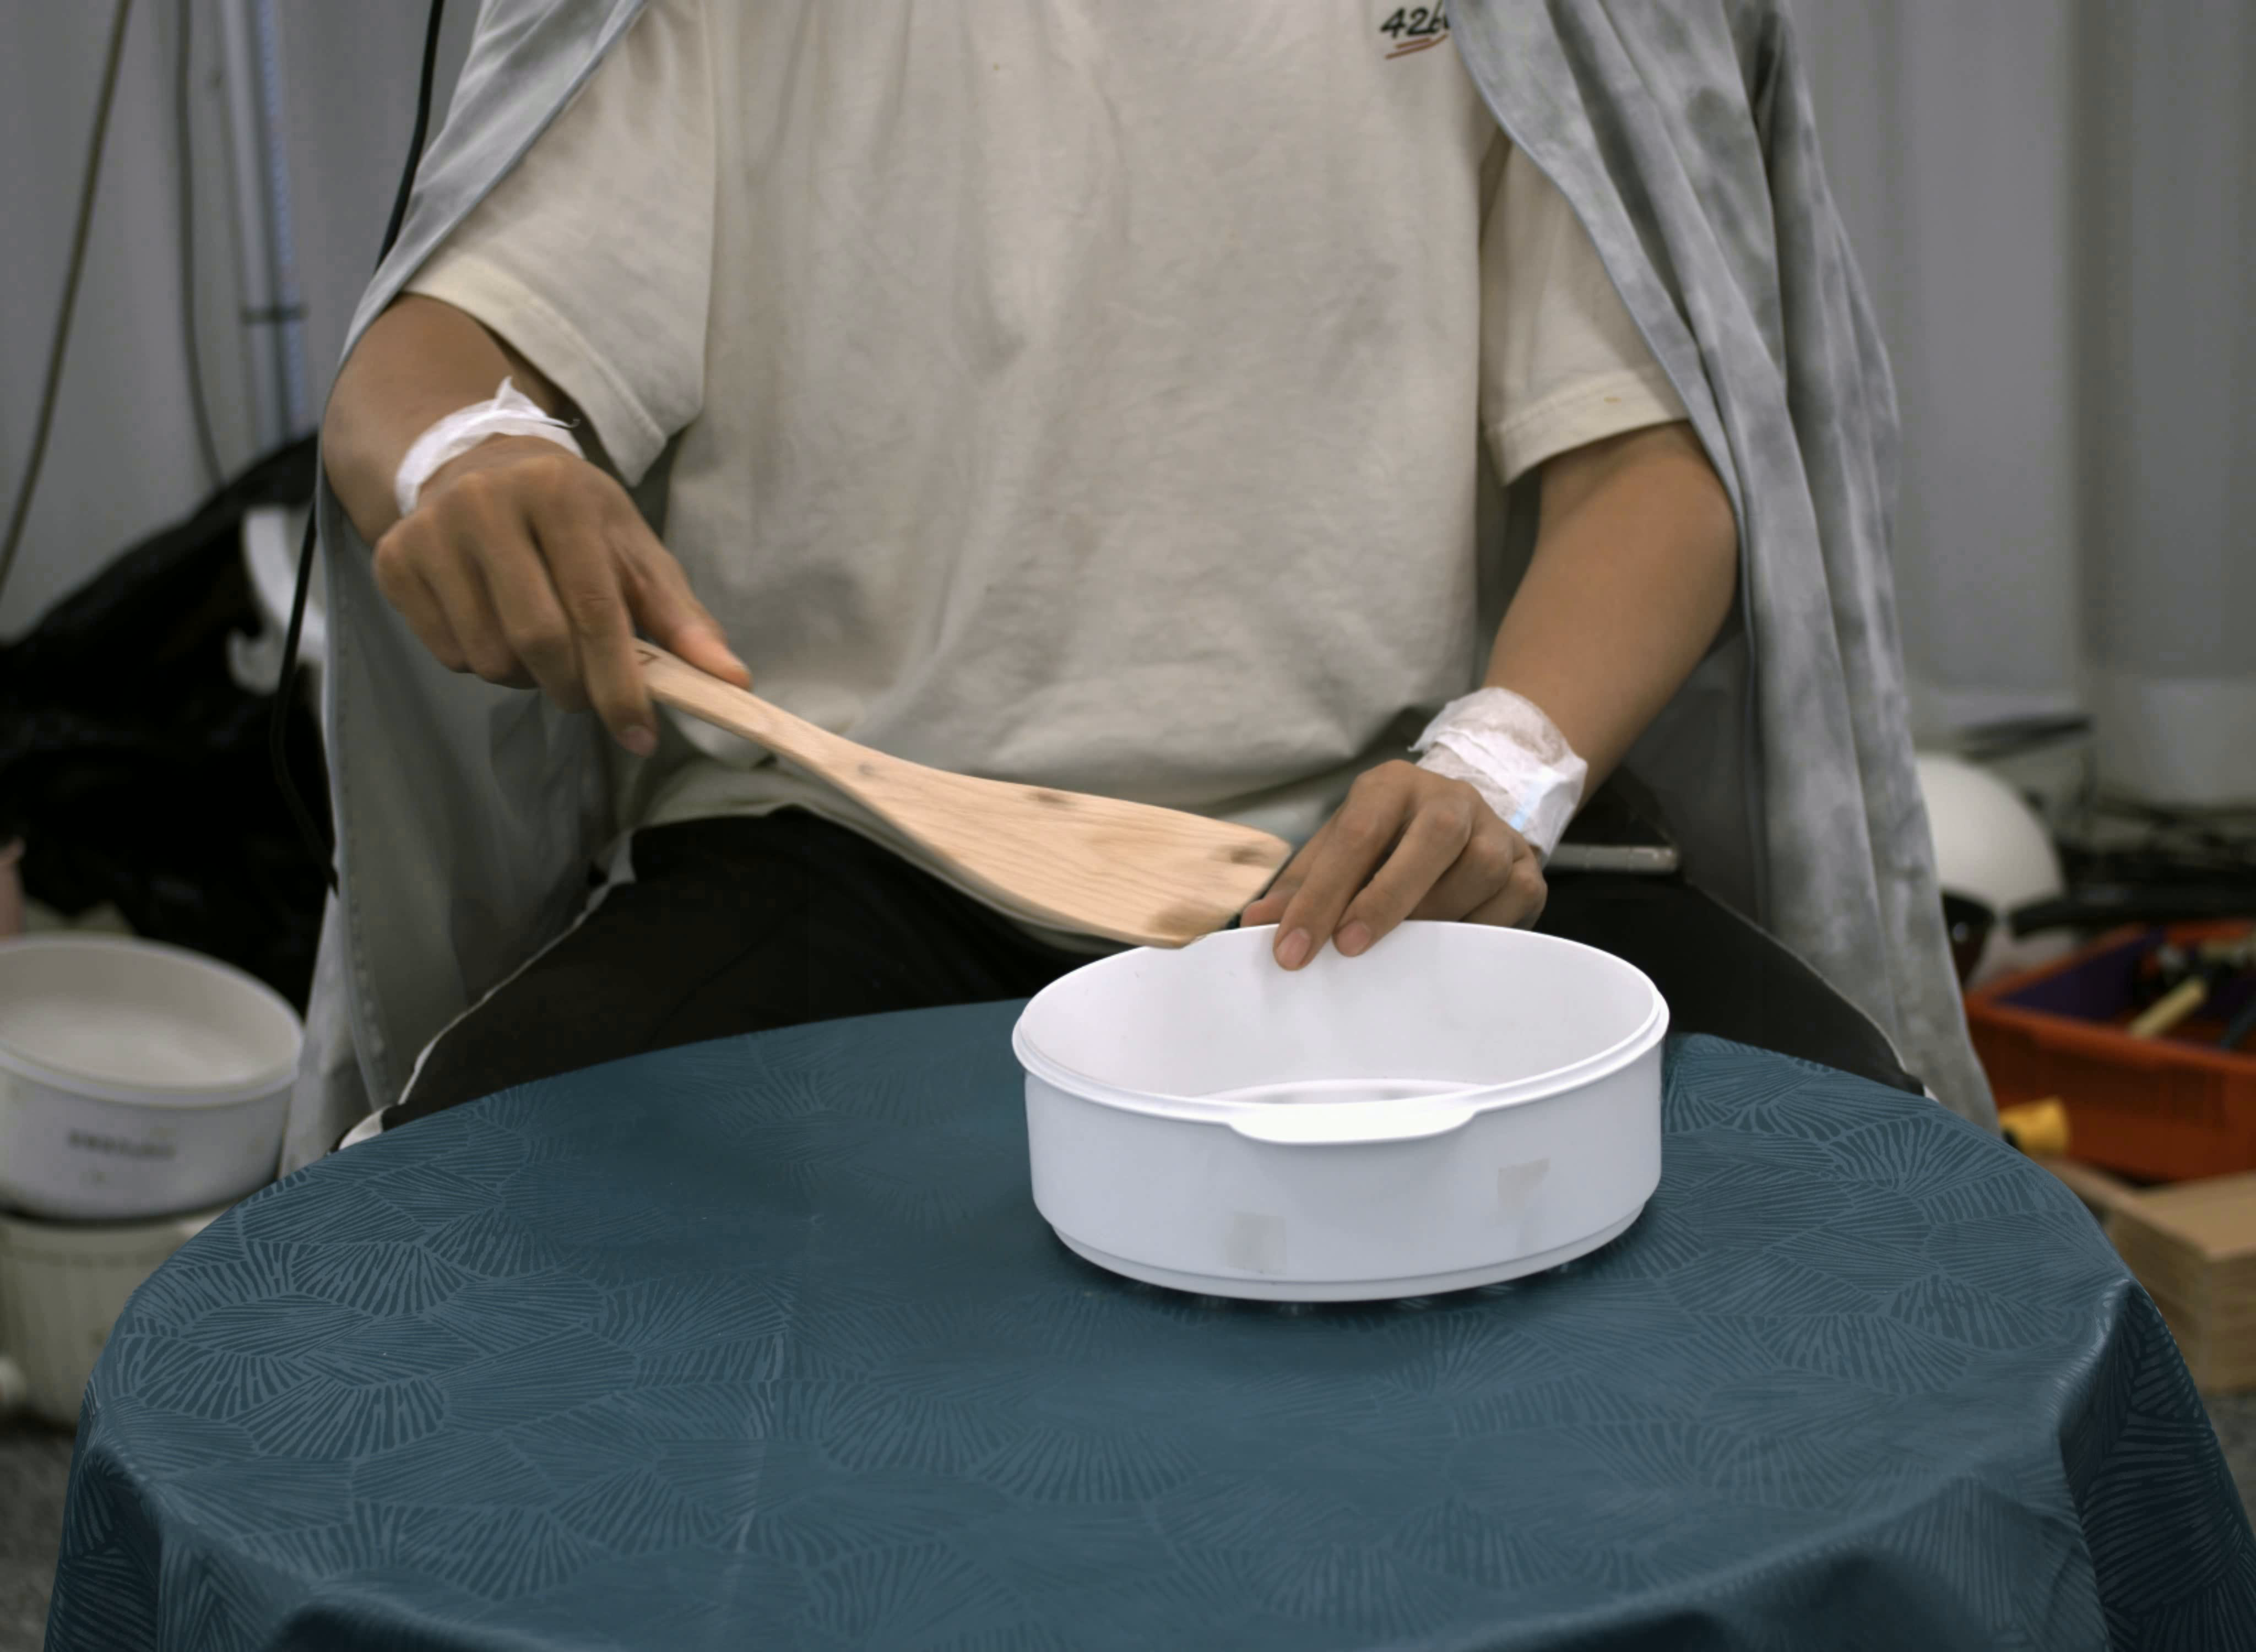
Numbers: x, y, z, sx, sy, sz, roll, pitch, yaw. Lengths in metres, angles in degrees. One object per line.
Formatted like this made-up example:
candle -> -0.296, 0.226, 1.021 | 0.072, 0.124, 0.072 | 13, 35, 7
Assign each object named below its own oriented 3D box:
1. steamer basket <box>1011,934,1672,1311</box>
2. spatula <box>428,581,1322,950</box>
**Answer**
steamer basket -> 0.066, 0.090, 1.673 | 0.201, 0.069, 0.232 | -1, 14, 1
spatula -> -0.085, -0.025, 1.679 | 0.329, 0.016, 0.080 | 22, 32, 28
